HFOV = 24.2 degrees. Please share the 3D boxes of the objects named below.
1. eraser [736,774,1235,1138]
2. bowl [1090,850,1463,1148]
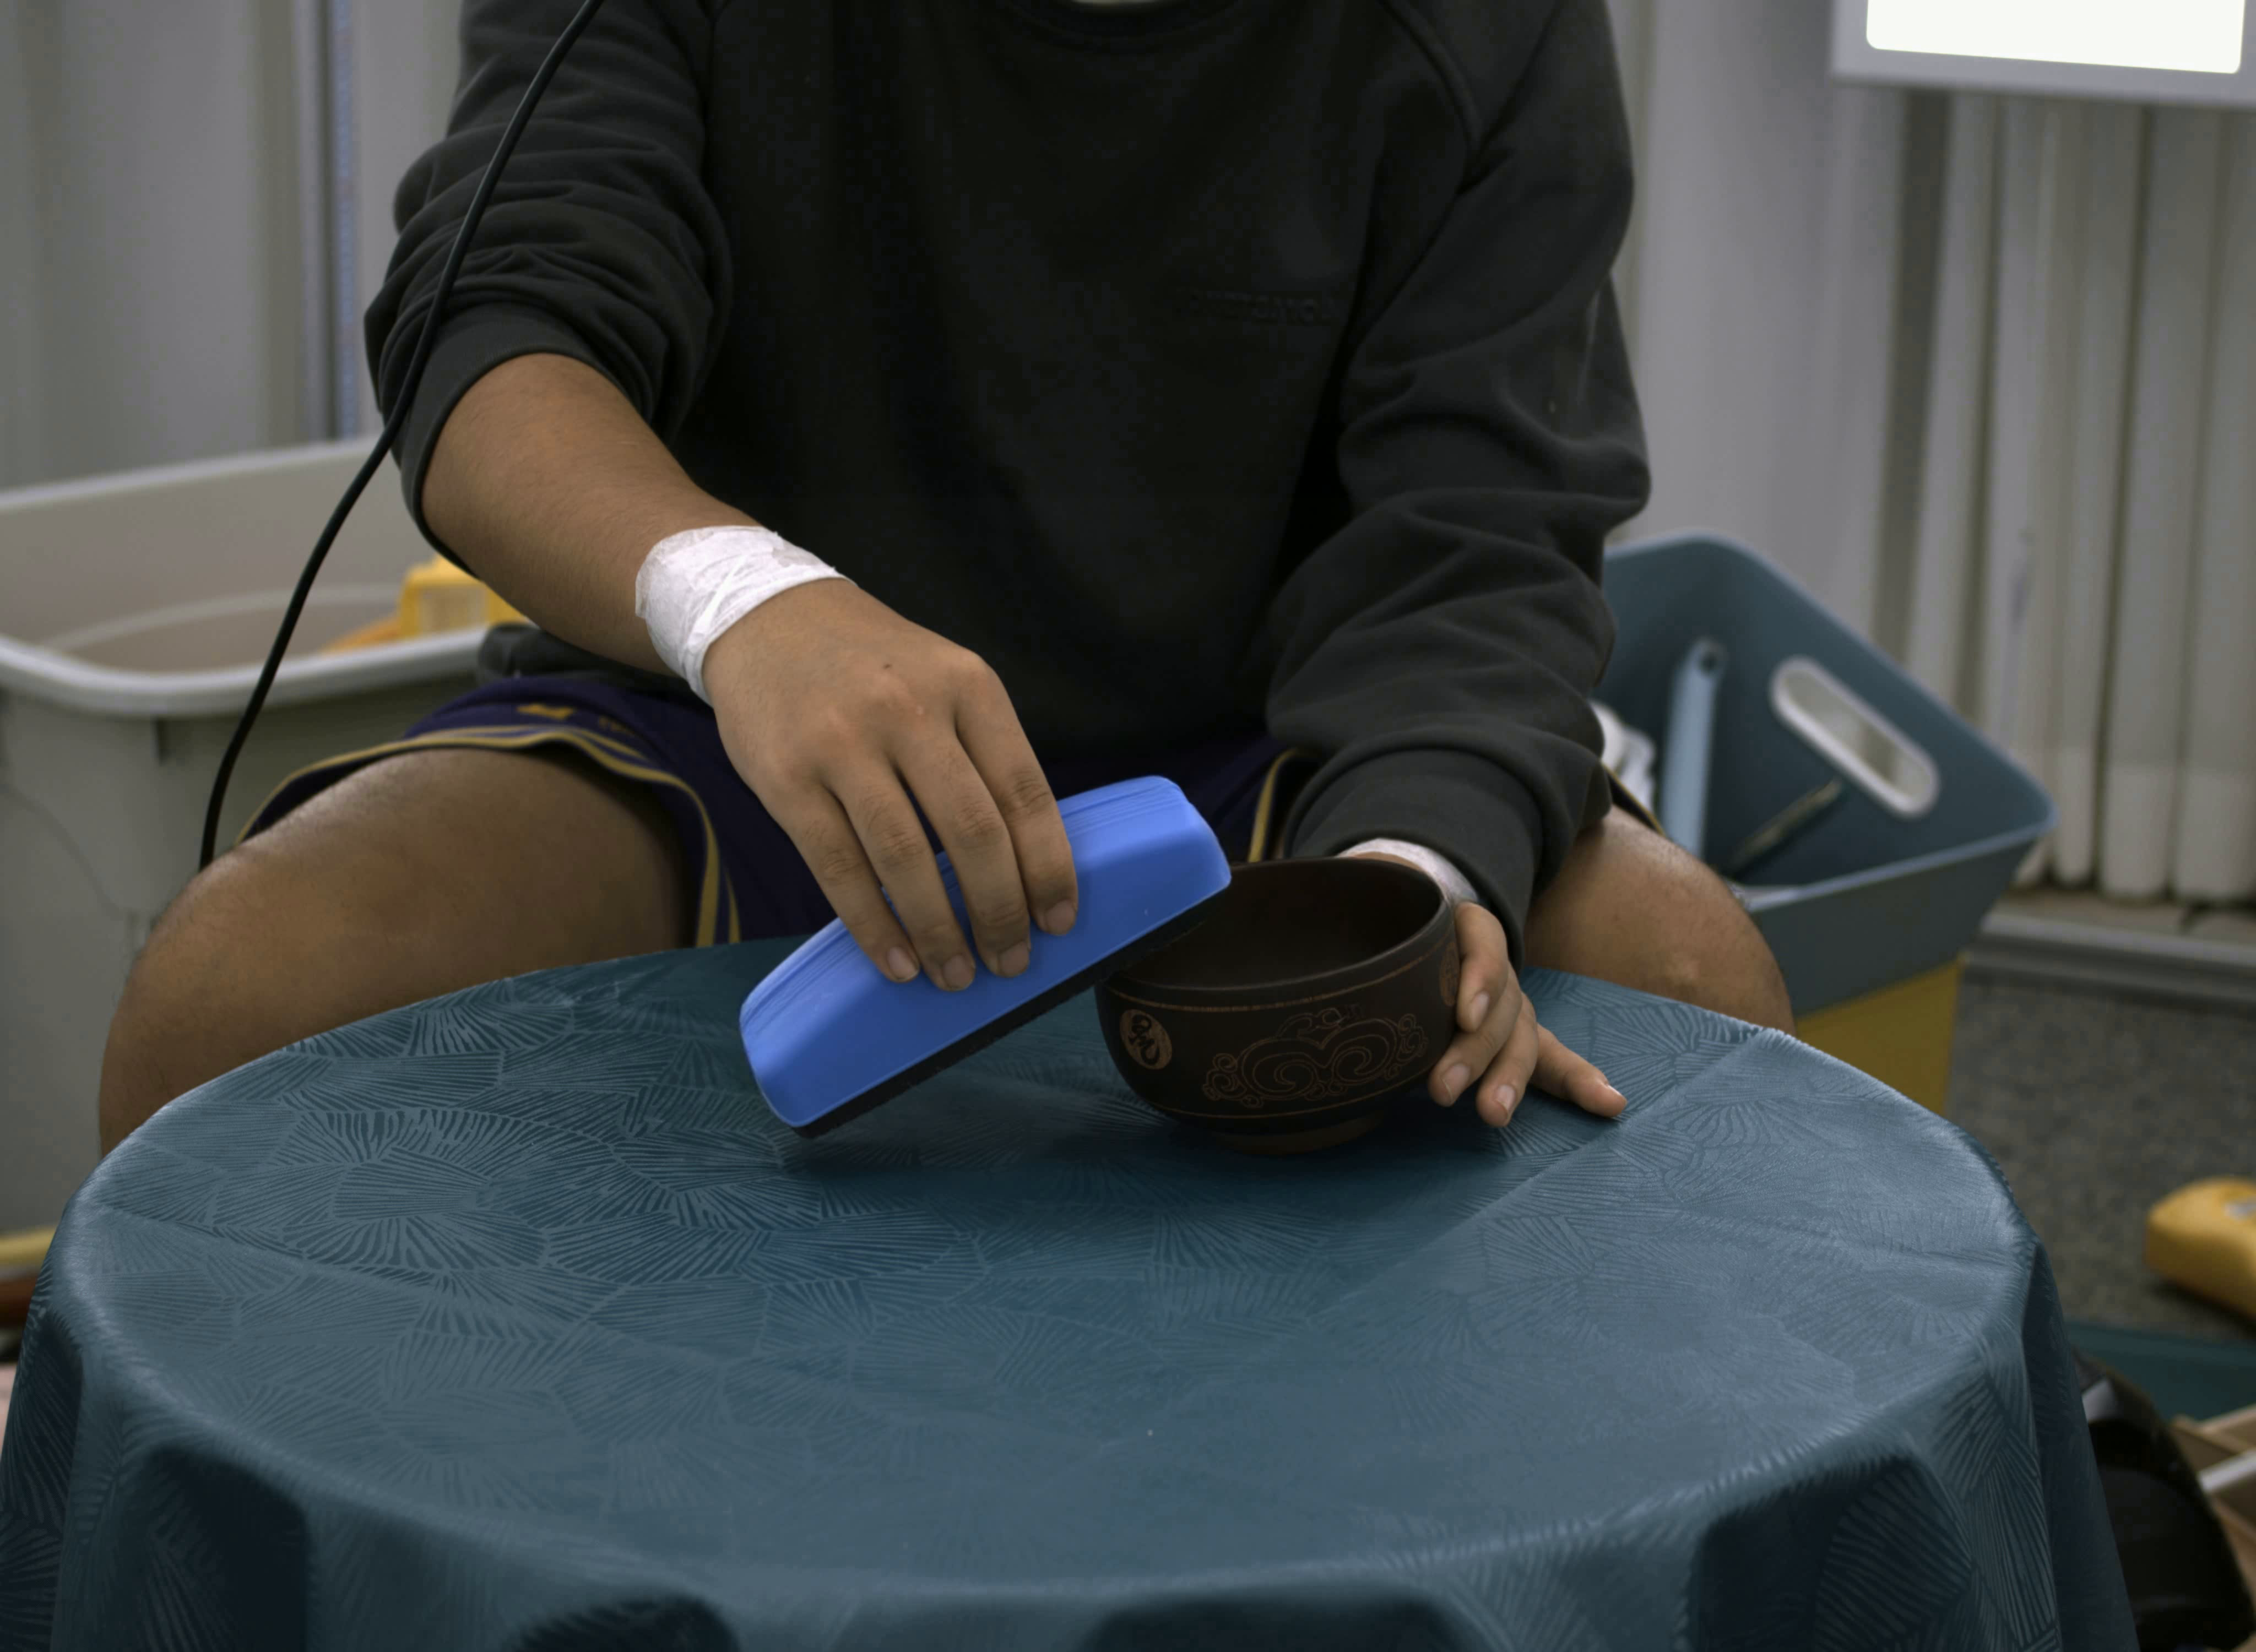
[{"bbox_3d":[-0.047,0.035,1.638,0.162,0.048,0.053,-29,29,-4],"label":"eraser"},{"bbox_3d":[0.049,0.059,1.664,0.117,0.070,0.117,-8,18,3],"label":"bowl"}]
